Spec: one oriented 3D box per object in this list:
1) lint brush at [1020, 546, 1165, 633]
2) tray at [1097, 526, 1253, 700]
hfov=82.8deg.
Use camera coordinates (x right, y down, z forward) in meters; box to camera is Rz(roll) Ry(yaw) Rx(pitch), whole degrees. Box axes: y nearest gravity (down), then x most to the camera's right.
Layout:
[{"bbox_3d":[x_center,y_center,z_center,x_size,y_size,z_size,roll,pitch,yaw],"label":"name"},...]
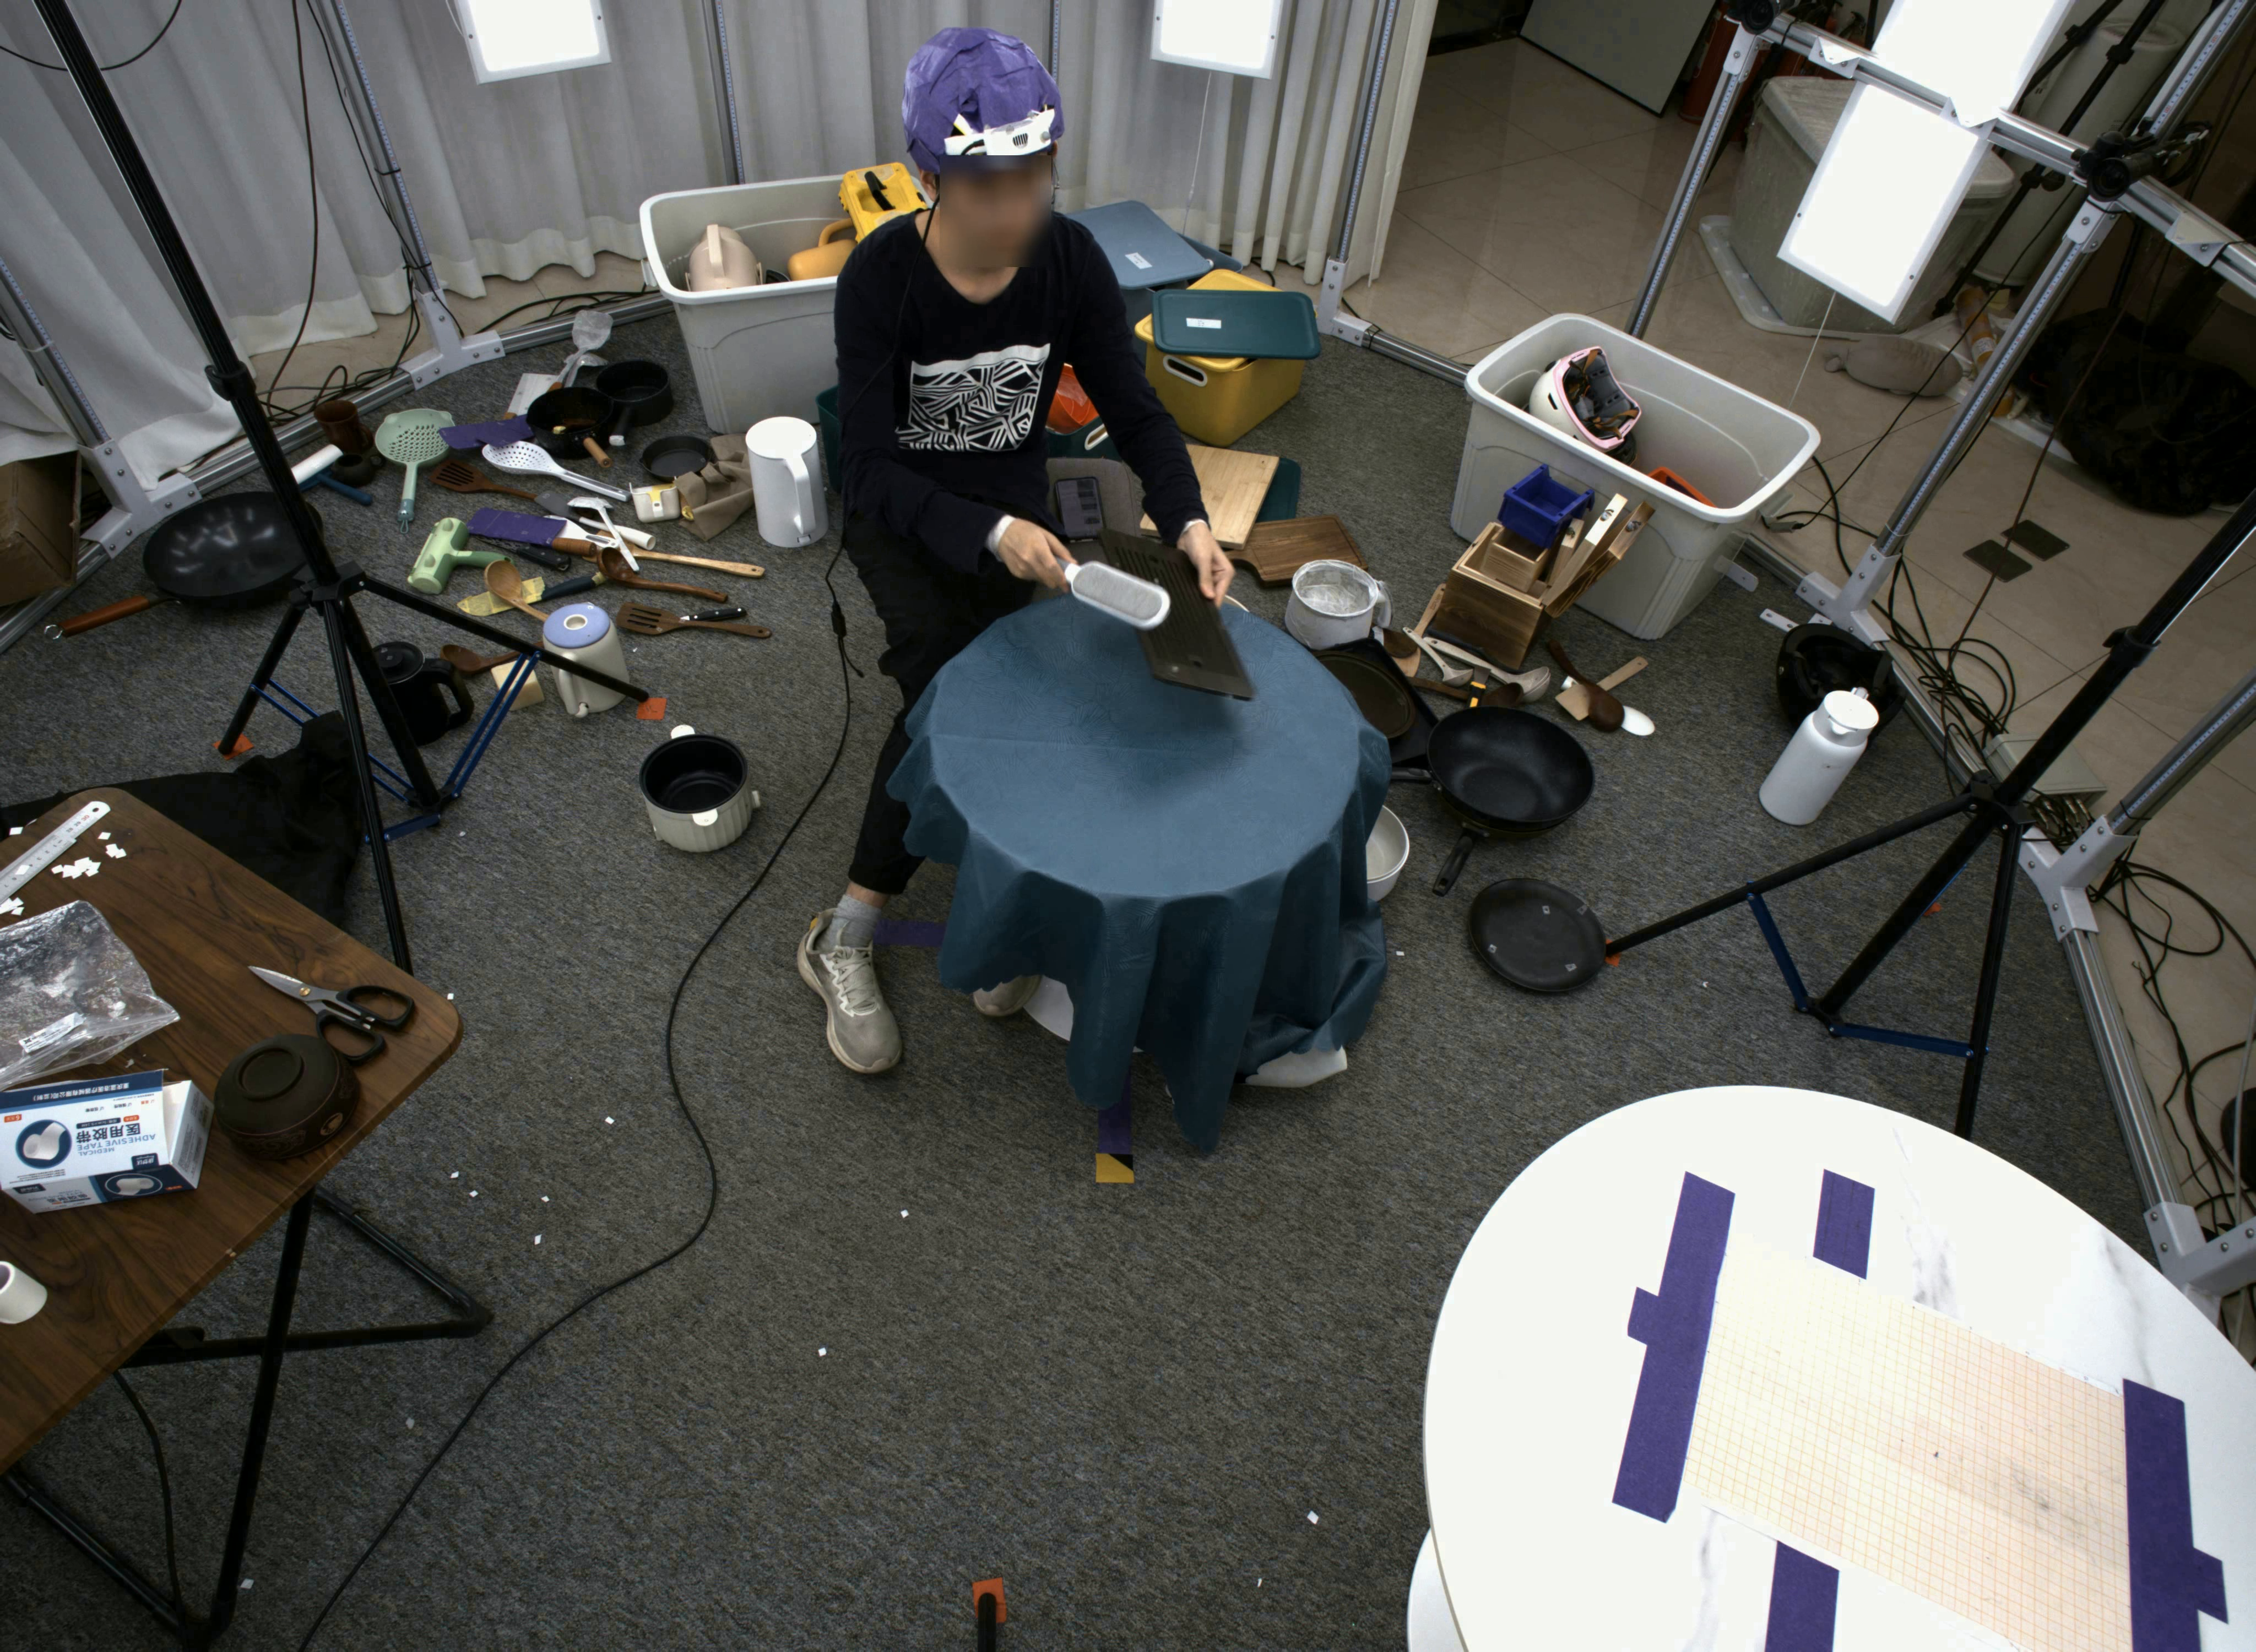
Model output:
[{"bbox_3d":[-0.055,-0.337,1.783,0.314,0.020,0.060,33,95,42],"label":"lint brush"},{"bbox_3d":[0.061,-0.299,1.804,0.169,0.018,0.313,9,46,-32],"label":"tray"}]
